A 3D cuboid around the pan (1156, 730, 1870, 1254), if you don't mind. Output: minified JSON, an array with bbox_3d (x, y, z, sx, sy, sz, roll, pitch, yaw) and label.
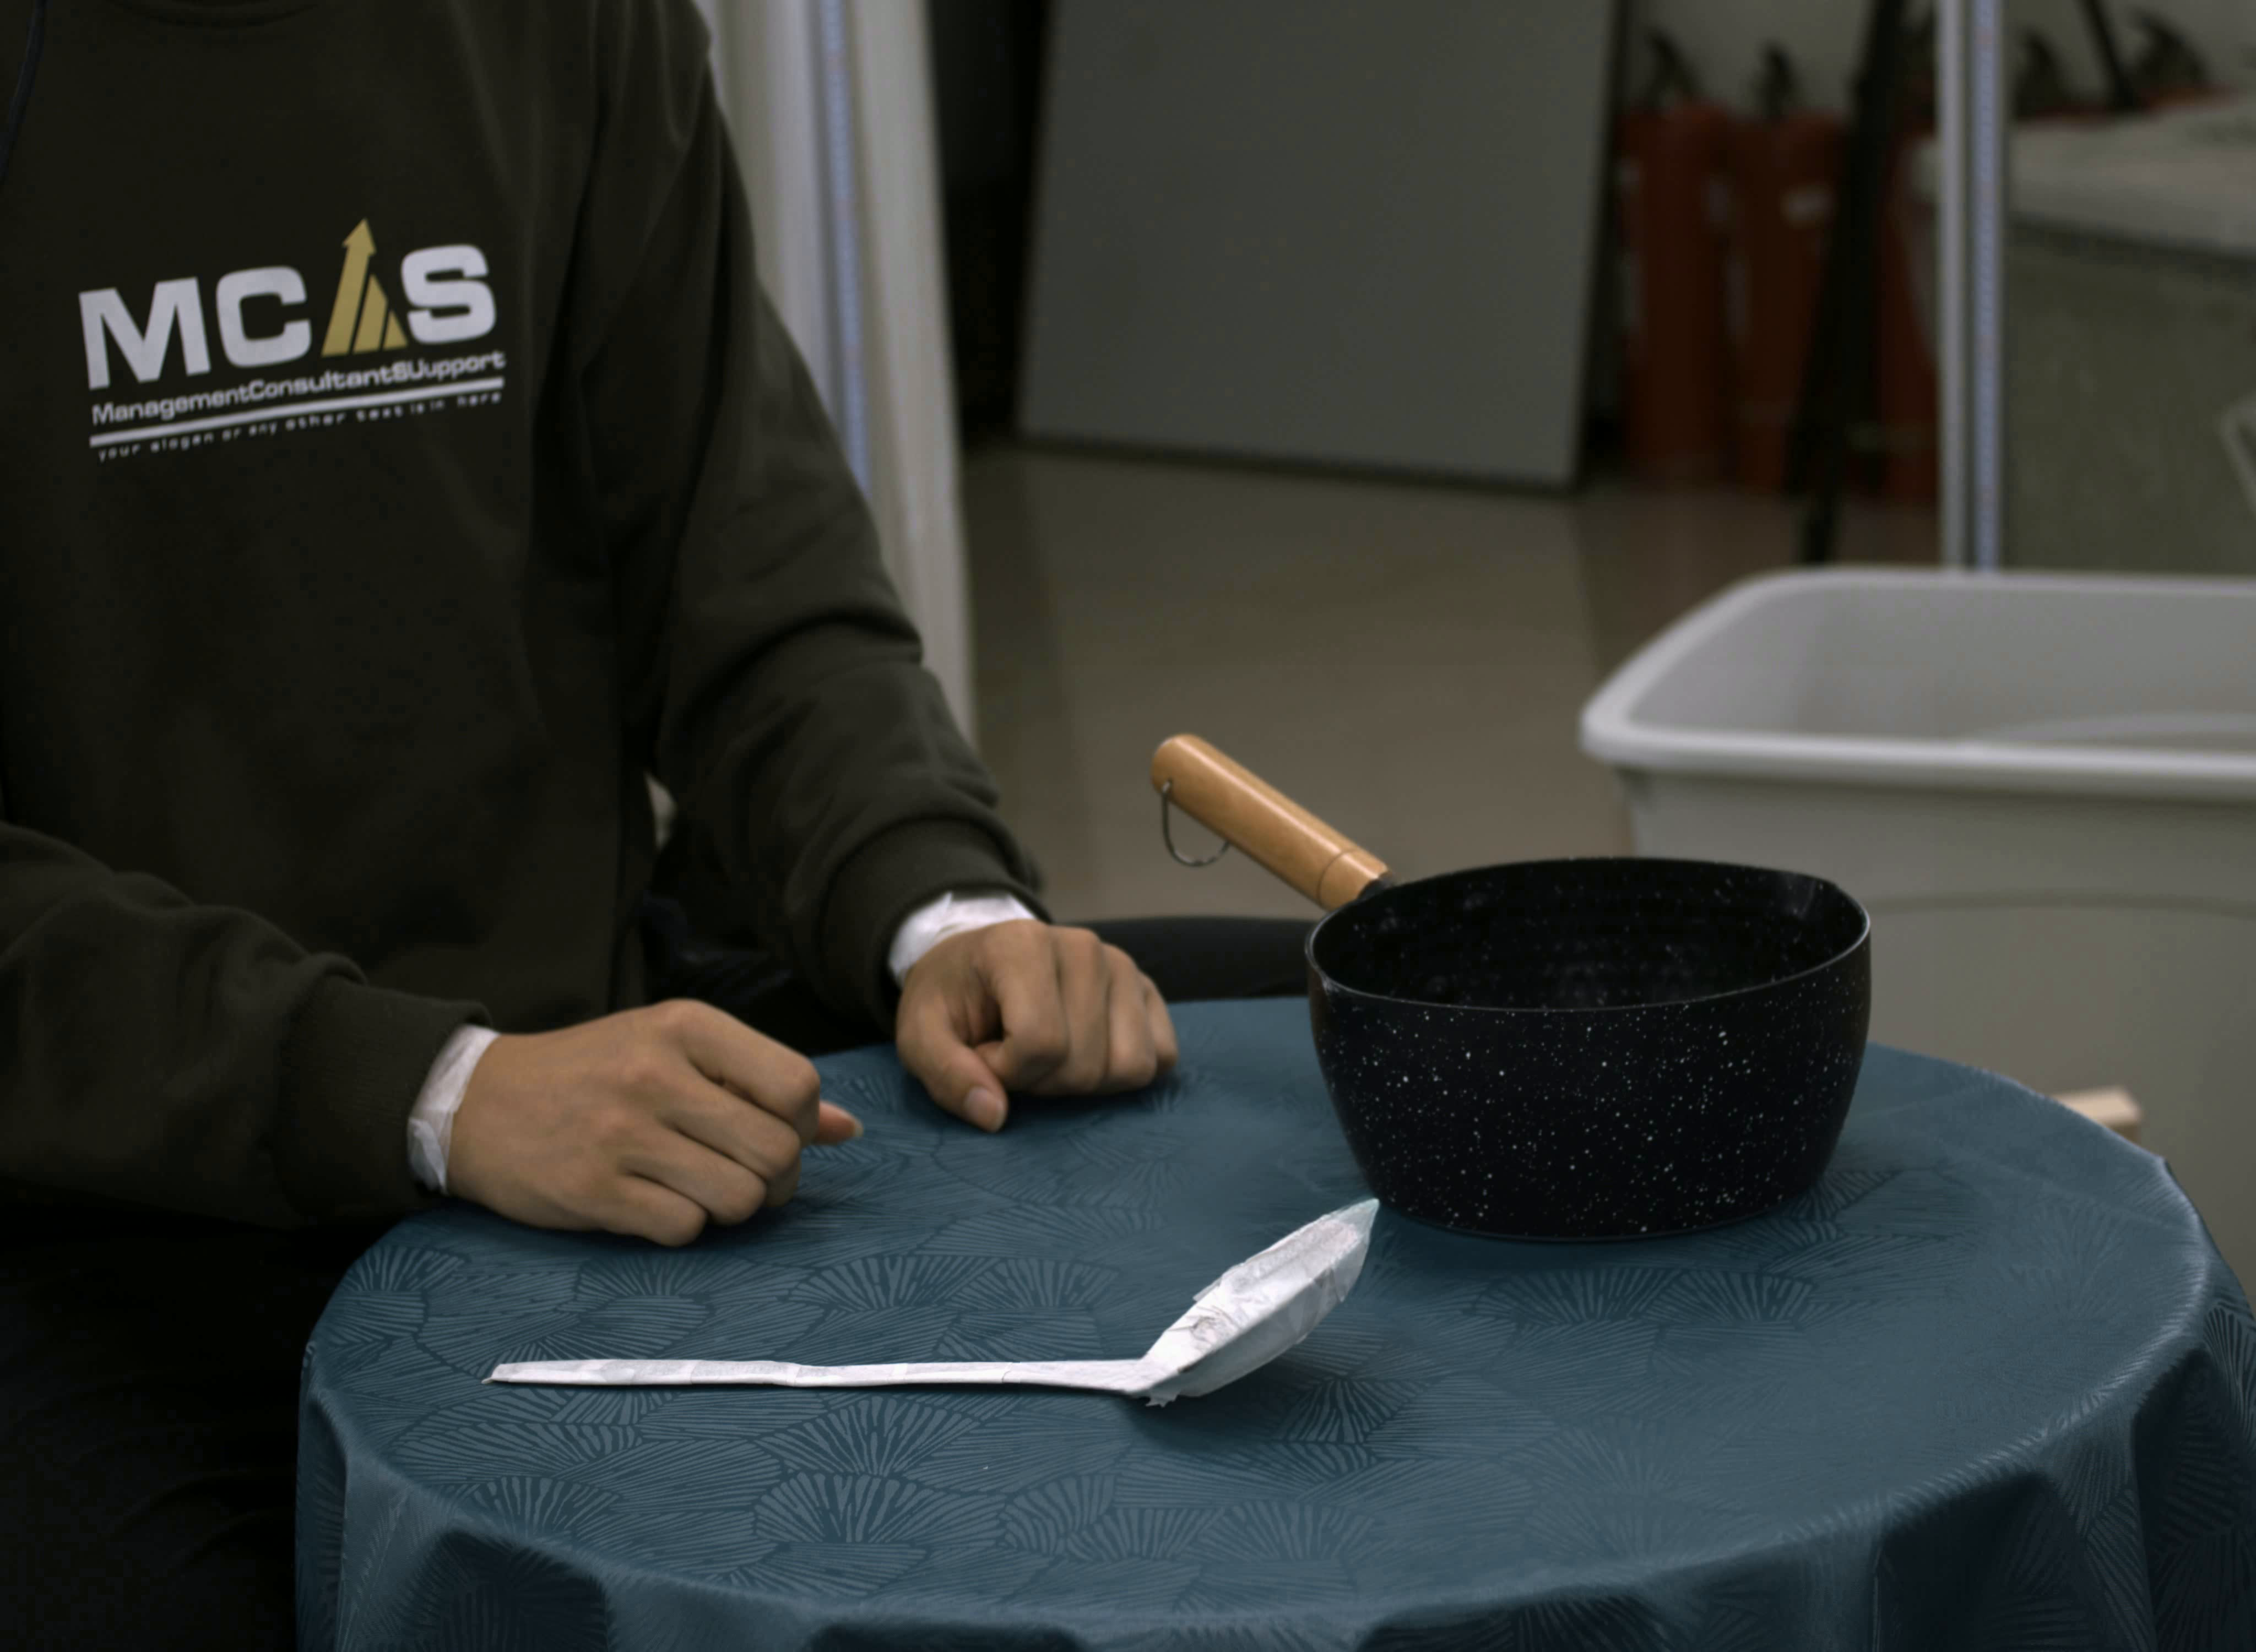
[{"bbox_3d":[0.107,0.049,1.811,0.203,0.109,0.346,-13,17,-30],"label":"pan"}]

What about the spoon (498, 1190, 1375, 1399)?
[{"bbox_3d":[-0.059,0.137,1.606,0.276,0.060,0.100,0,10,17],"label":"spoon"}]
